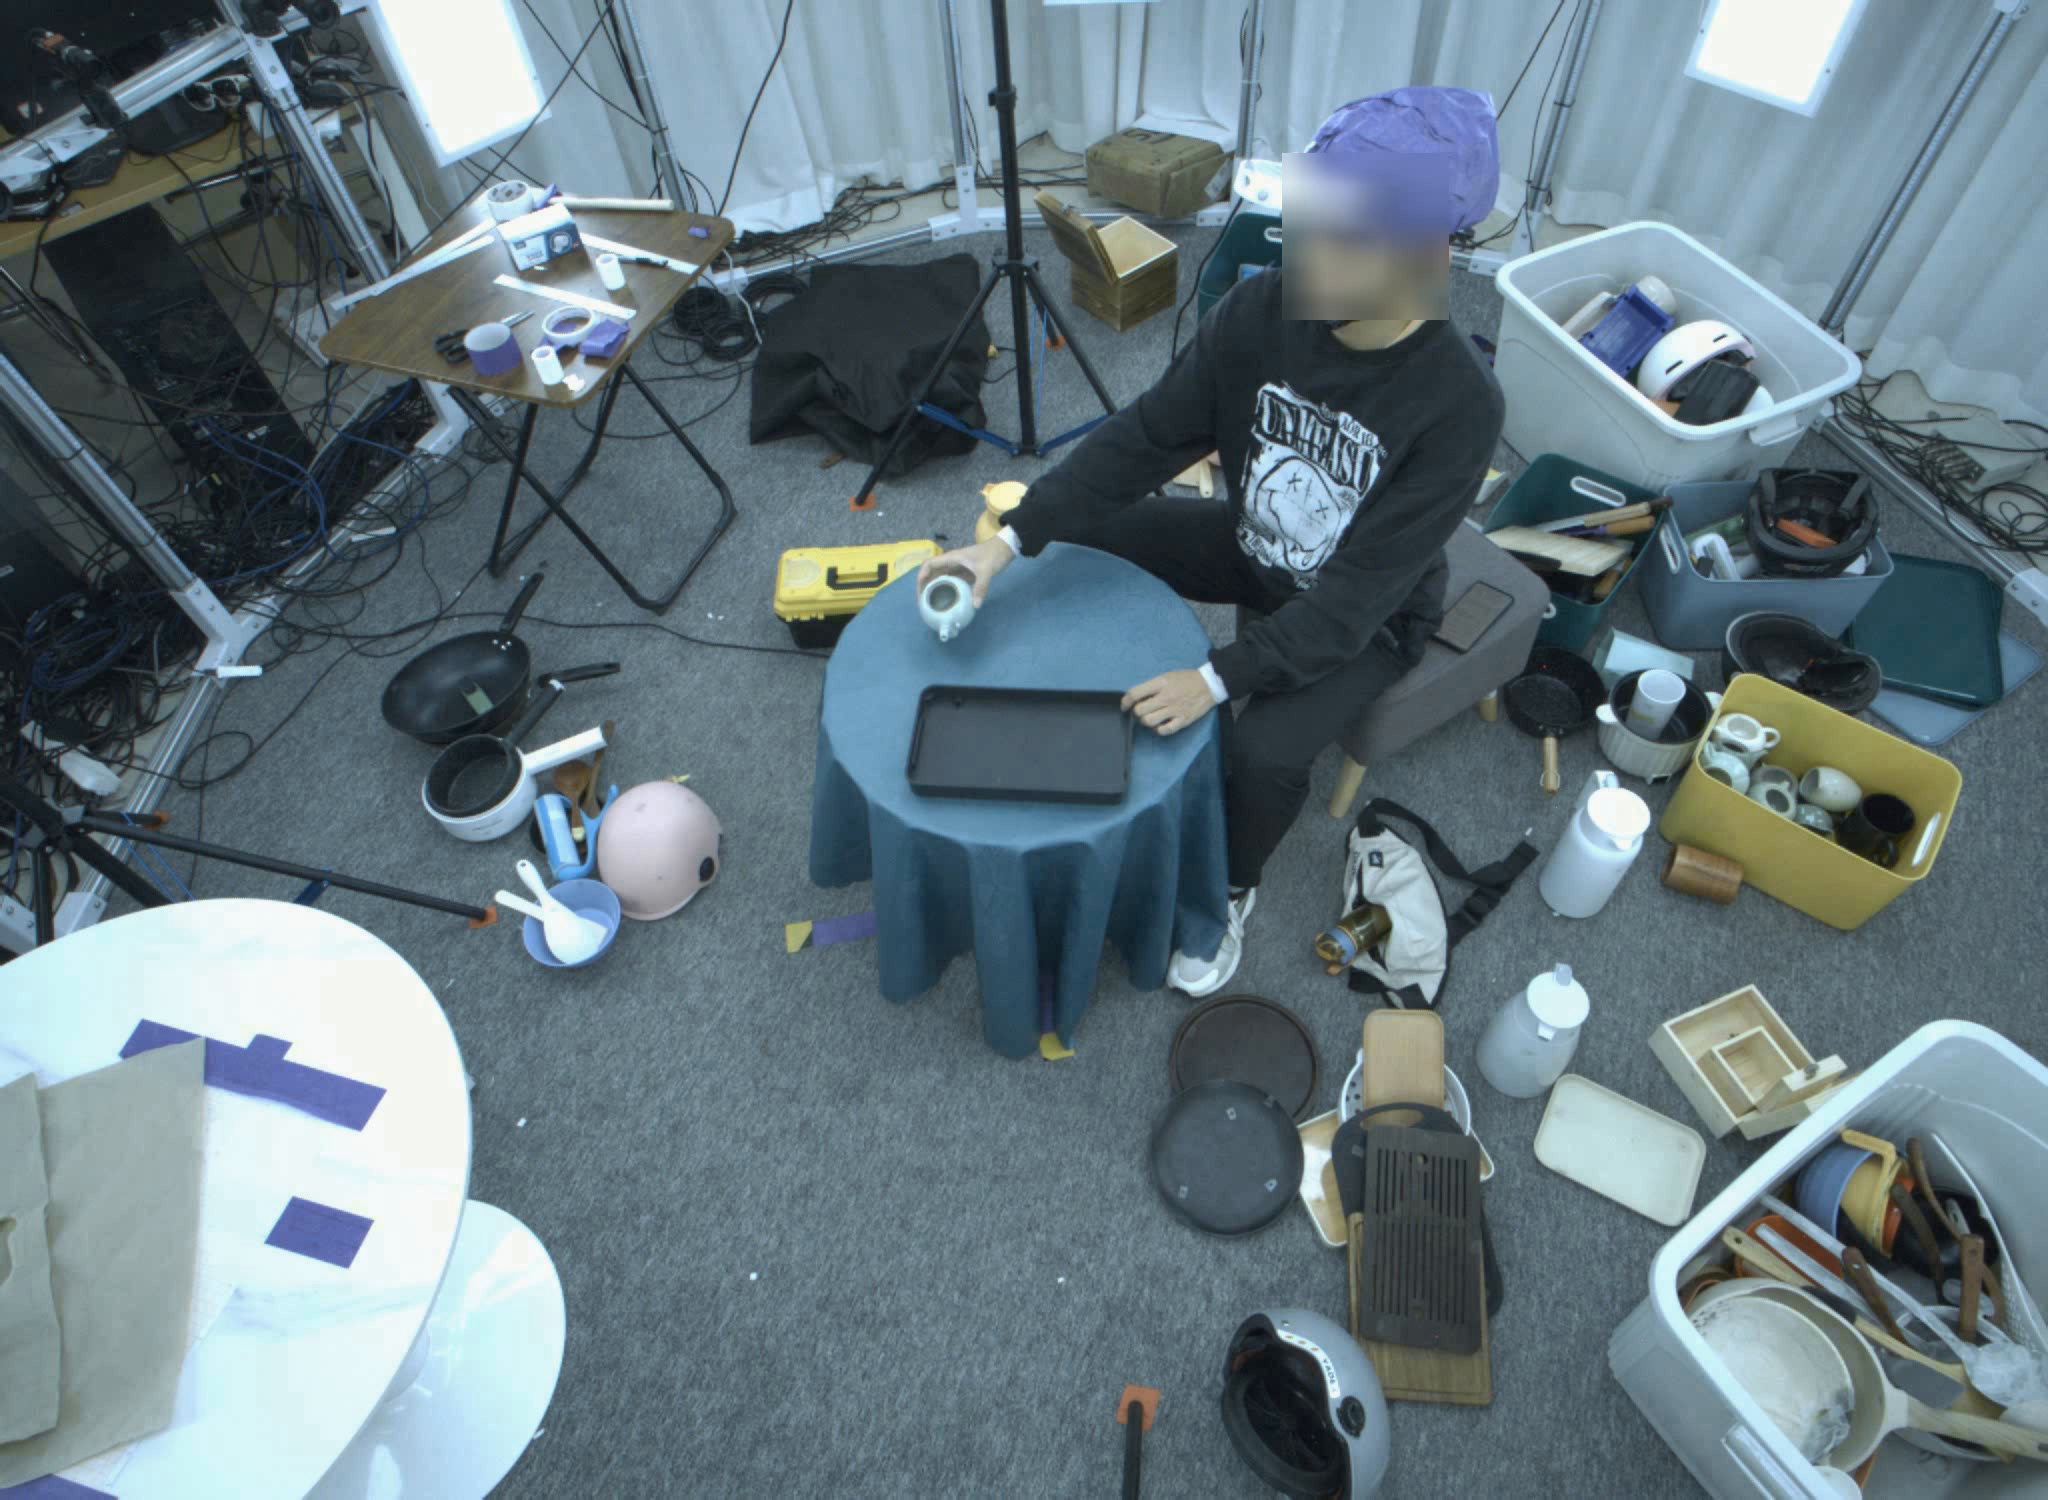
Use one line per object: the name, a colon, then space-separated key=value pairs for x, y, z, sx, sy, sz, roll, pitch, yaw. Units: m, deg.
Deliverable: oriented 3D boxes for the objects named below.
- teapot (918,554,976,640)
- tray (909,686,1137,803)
teapot: x=-0.117 y=-0.219 z=1.854 sx=0.088 sy=0.075 sz=0.143 roll=-5 pitch=72 yaw=9
tray: x=0.002 y=-0.009 z=1.766 sx=0.317 sy=0.037 sz=0.182 roll=1 pitch=55 yaw=3
